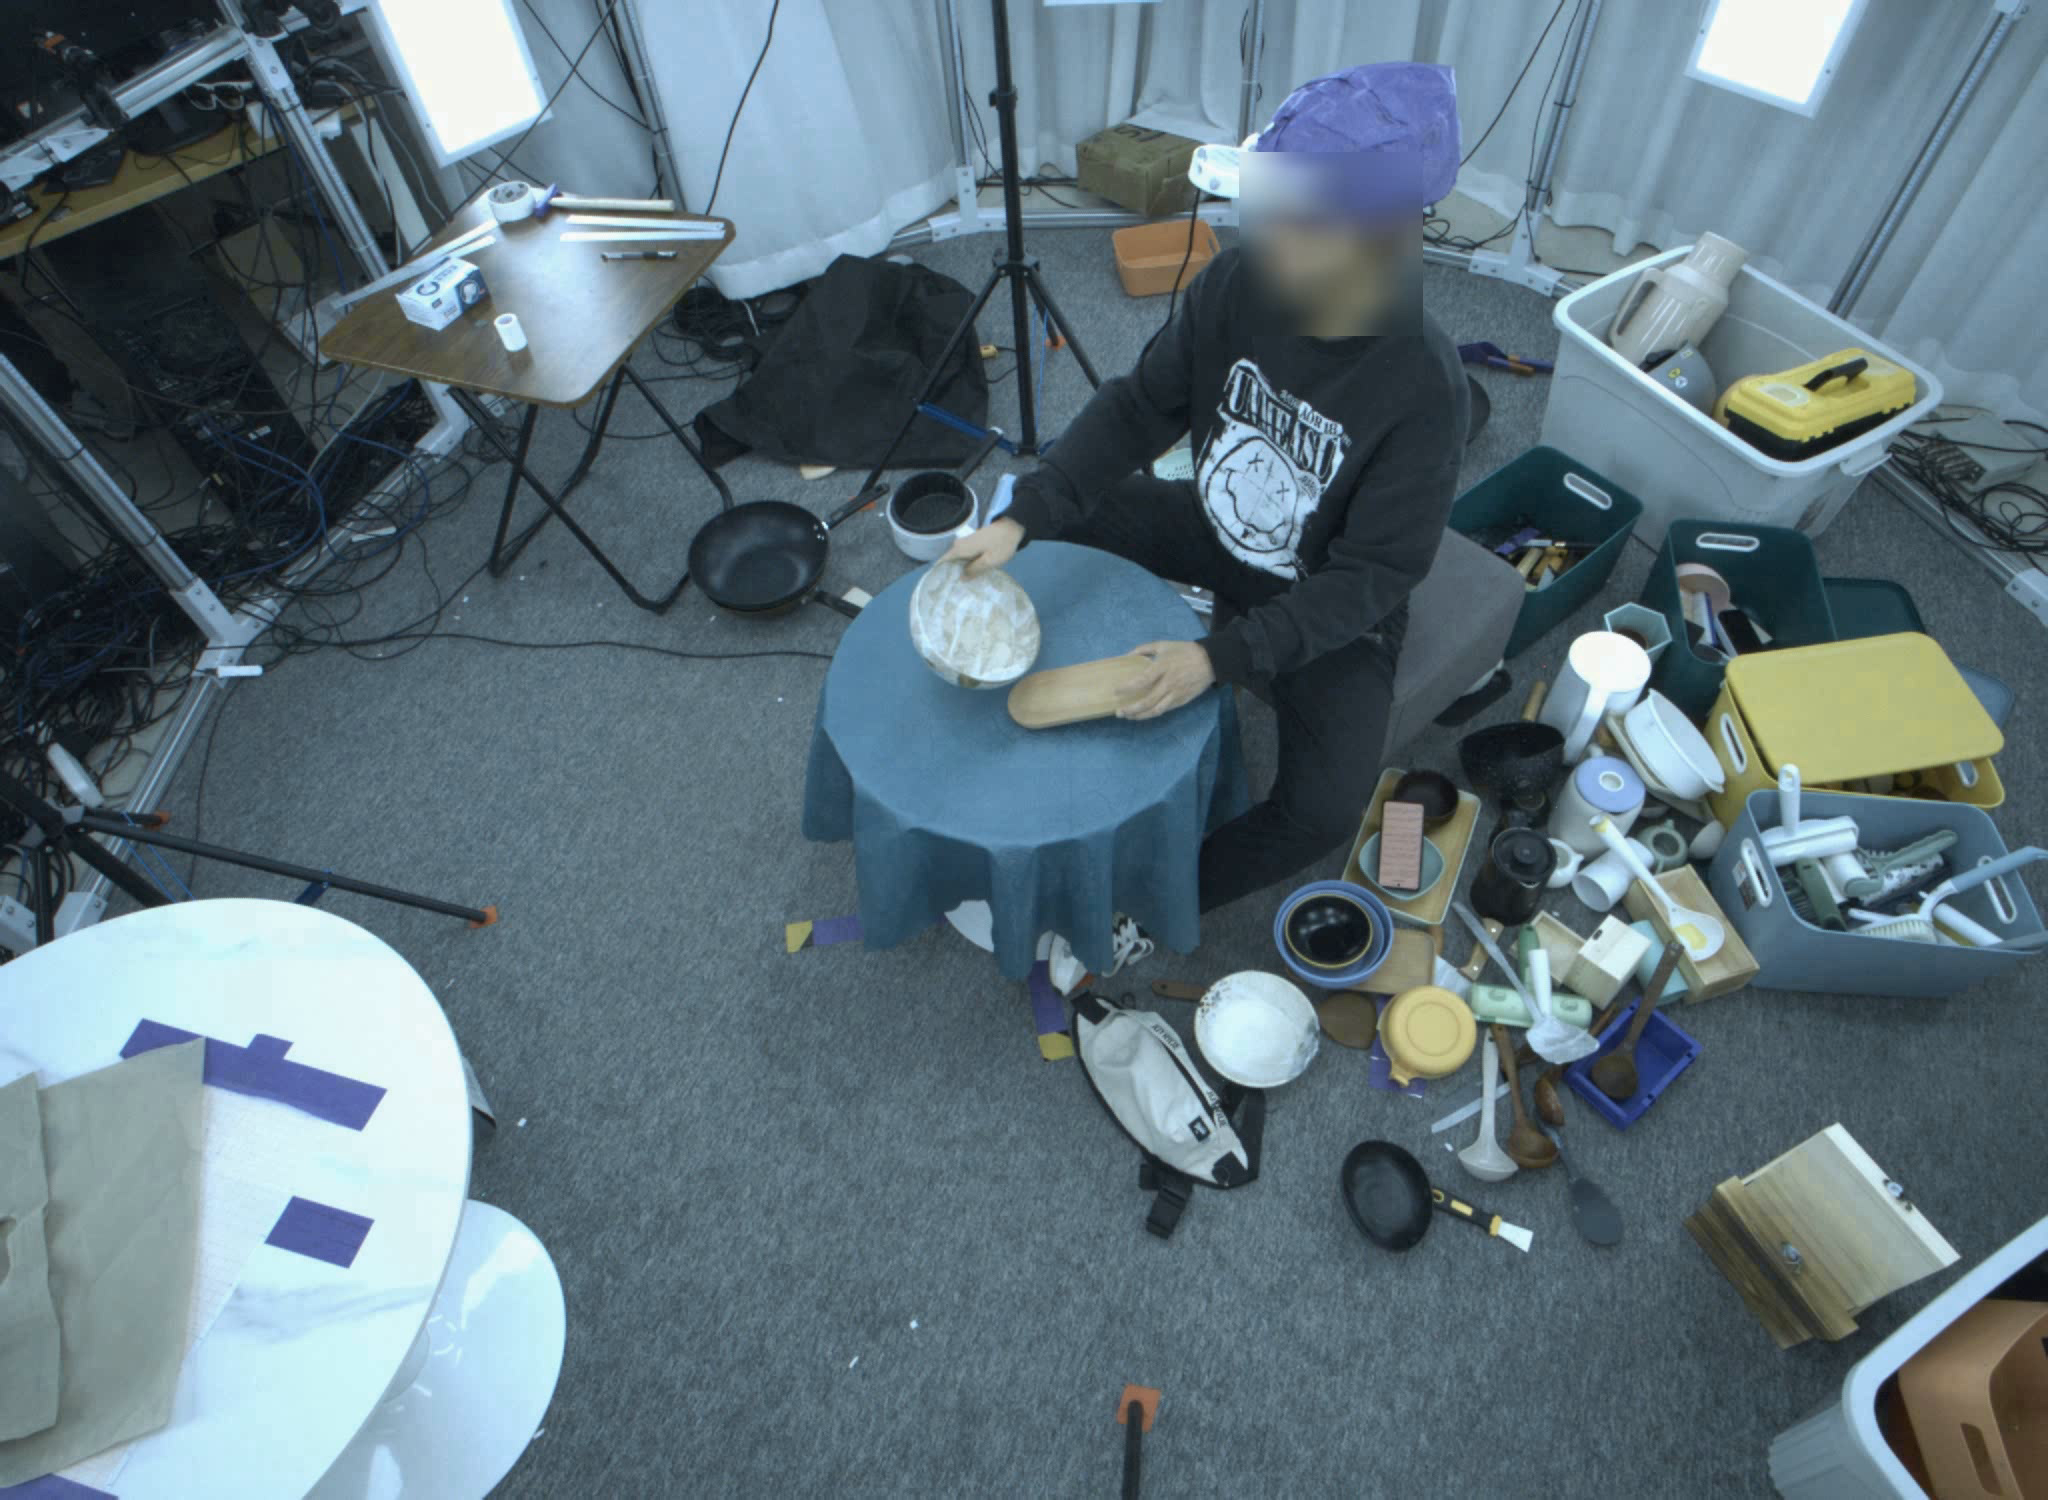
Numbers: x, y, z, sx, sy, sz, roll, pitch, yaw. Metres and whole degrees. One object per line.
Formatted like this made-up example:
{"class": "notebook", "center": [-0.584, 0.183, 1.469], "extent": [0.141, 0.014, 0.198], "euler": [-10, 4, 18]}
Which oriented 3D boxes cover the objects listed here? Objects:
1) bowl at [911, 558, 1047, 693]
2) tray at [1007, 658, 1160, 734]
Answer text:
{"class": "bowl", "center": [-0.078, -0.165, 1.790], "extent": [0.219, 0.093, 0.213], "euler": [15, 62, -27]}
{"class": "tray", "center": [0.088, -0.079, 1.813], "extent": [0.229, 0.021, 0.100], "euler": [-12, 50, 11]}
